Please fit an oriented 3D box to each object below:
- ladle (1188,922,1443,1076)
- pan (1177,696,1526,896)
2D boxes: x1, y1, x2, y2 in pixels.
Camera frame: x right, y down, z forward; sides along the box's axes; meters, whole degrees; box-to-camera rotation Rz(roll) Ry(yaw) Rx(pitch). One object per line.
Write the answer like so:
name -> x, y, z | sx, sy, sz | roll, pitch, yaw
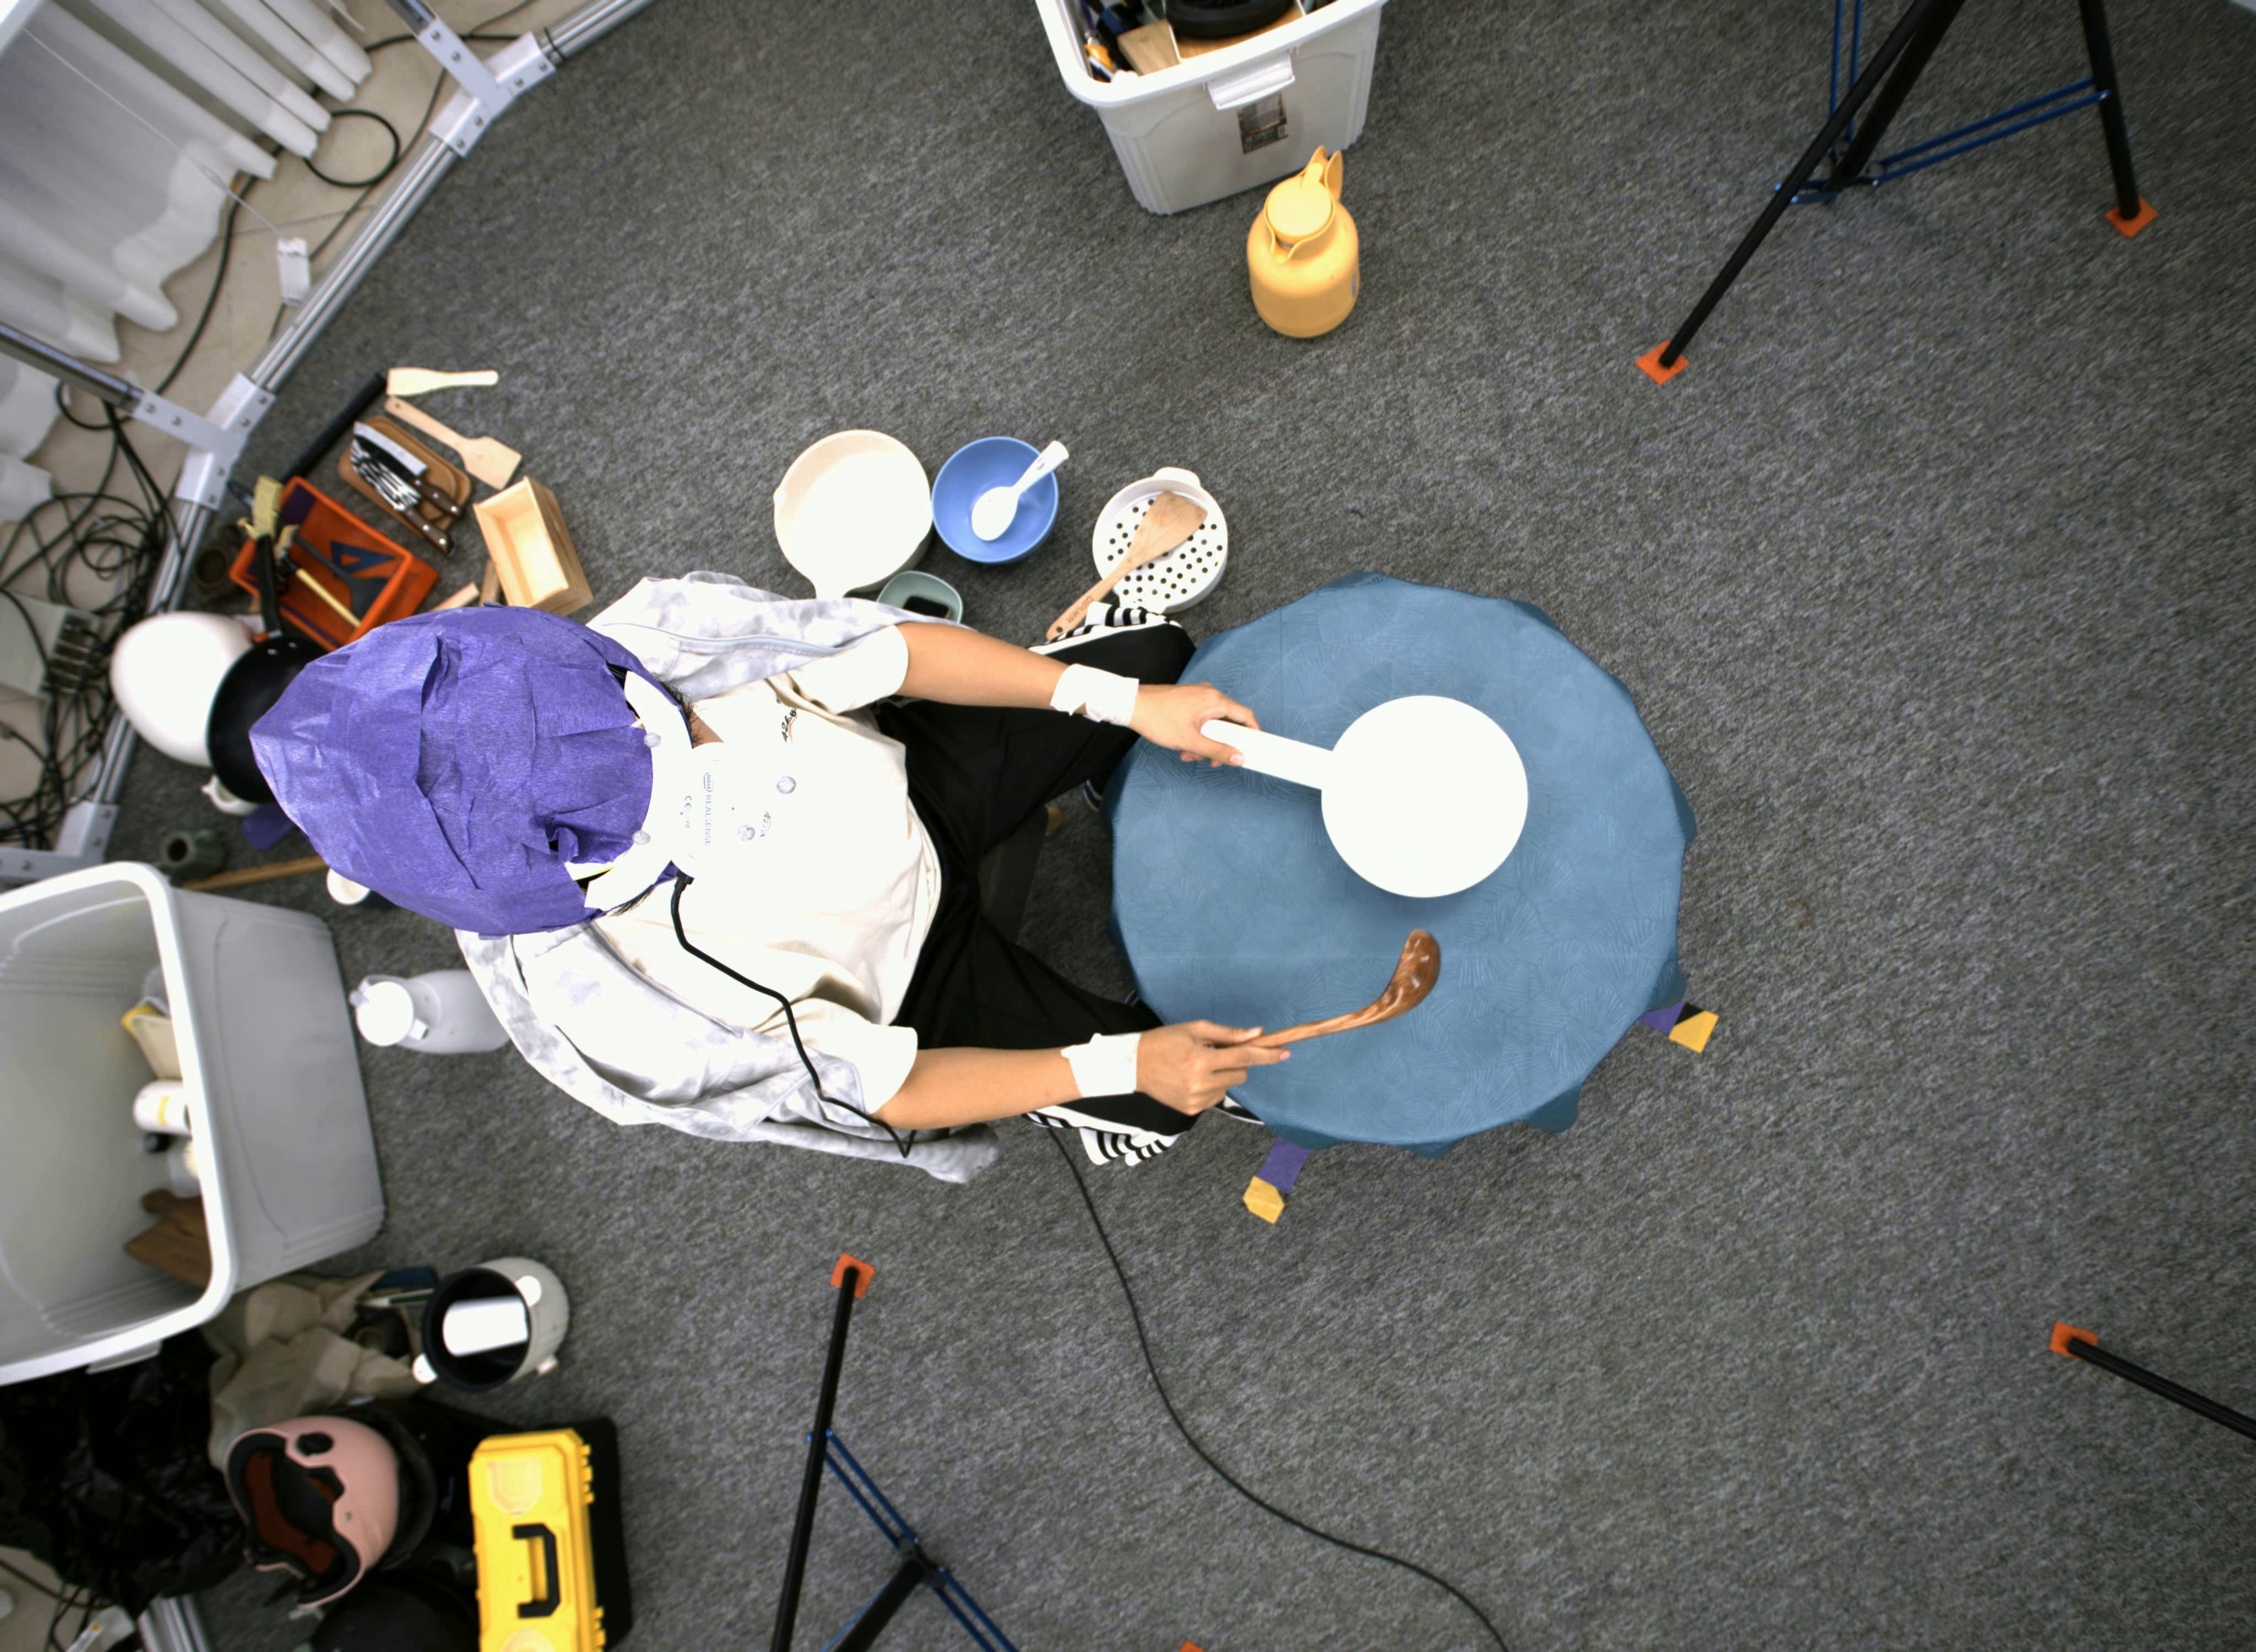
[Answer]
ladle -> 0.175, 0.166, 1.340 | 0.277, 0.082, 0.075 | -21, 62, 21
pan -> 0.227, -0.049, 1.423 | 0.355, 0.102, 0.201 | 17, 90, 12
